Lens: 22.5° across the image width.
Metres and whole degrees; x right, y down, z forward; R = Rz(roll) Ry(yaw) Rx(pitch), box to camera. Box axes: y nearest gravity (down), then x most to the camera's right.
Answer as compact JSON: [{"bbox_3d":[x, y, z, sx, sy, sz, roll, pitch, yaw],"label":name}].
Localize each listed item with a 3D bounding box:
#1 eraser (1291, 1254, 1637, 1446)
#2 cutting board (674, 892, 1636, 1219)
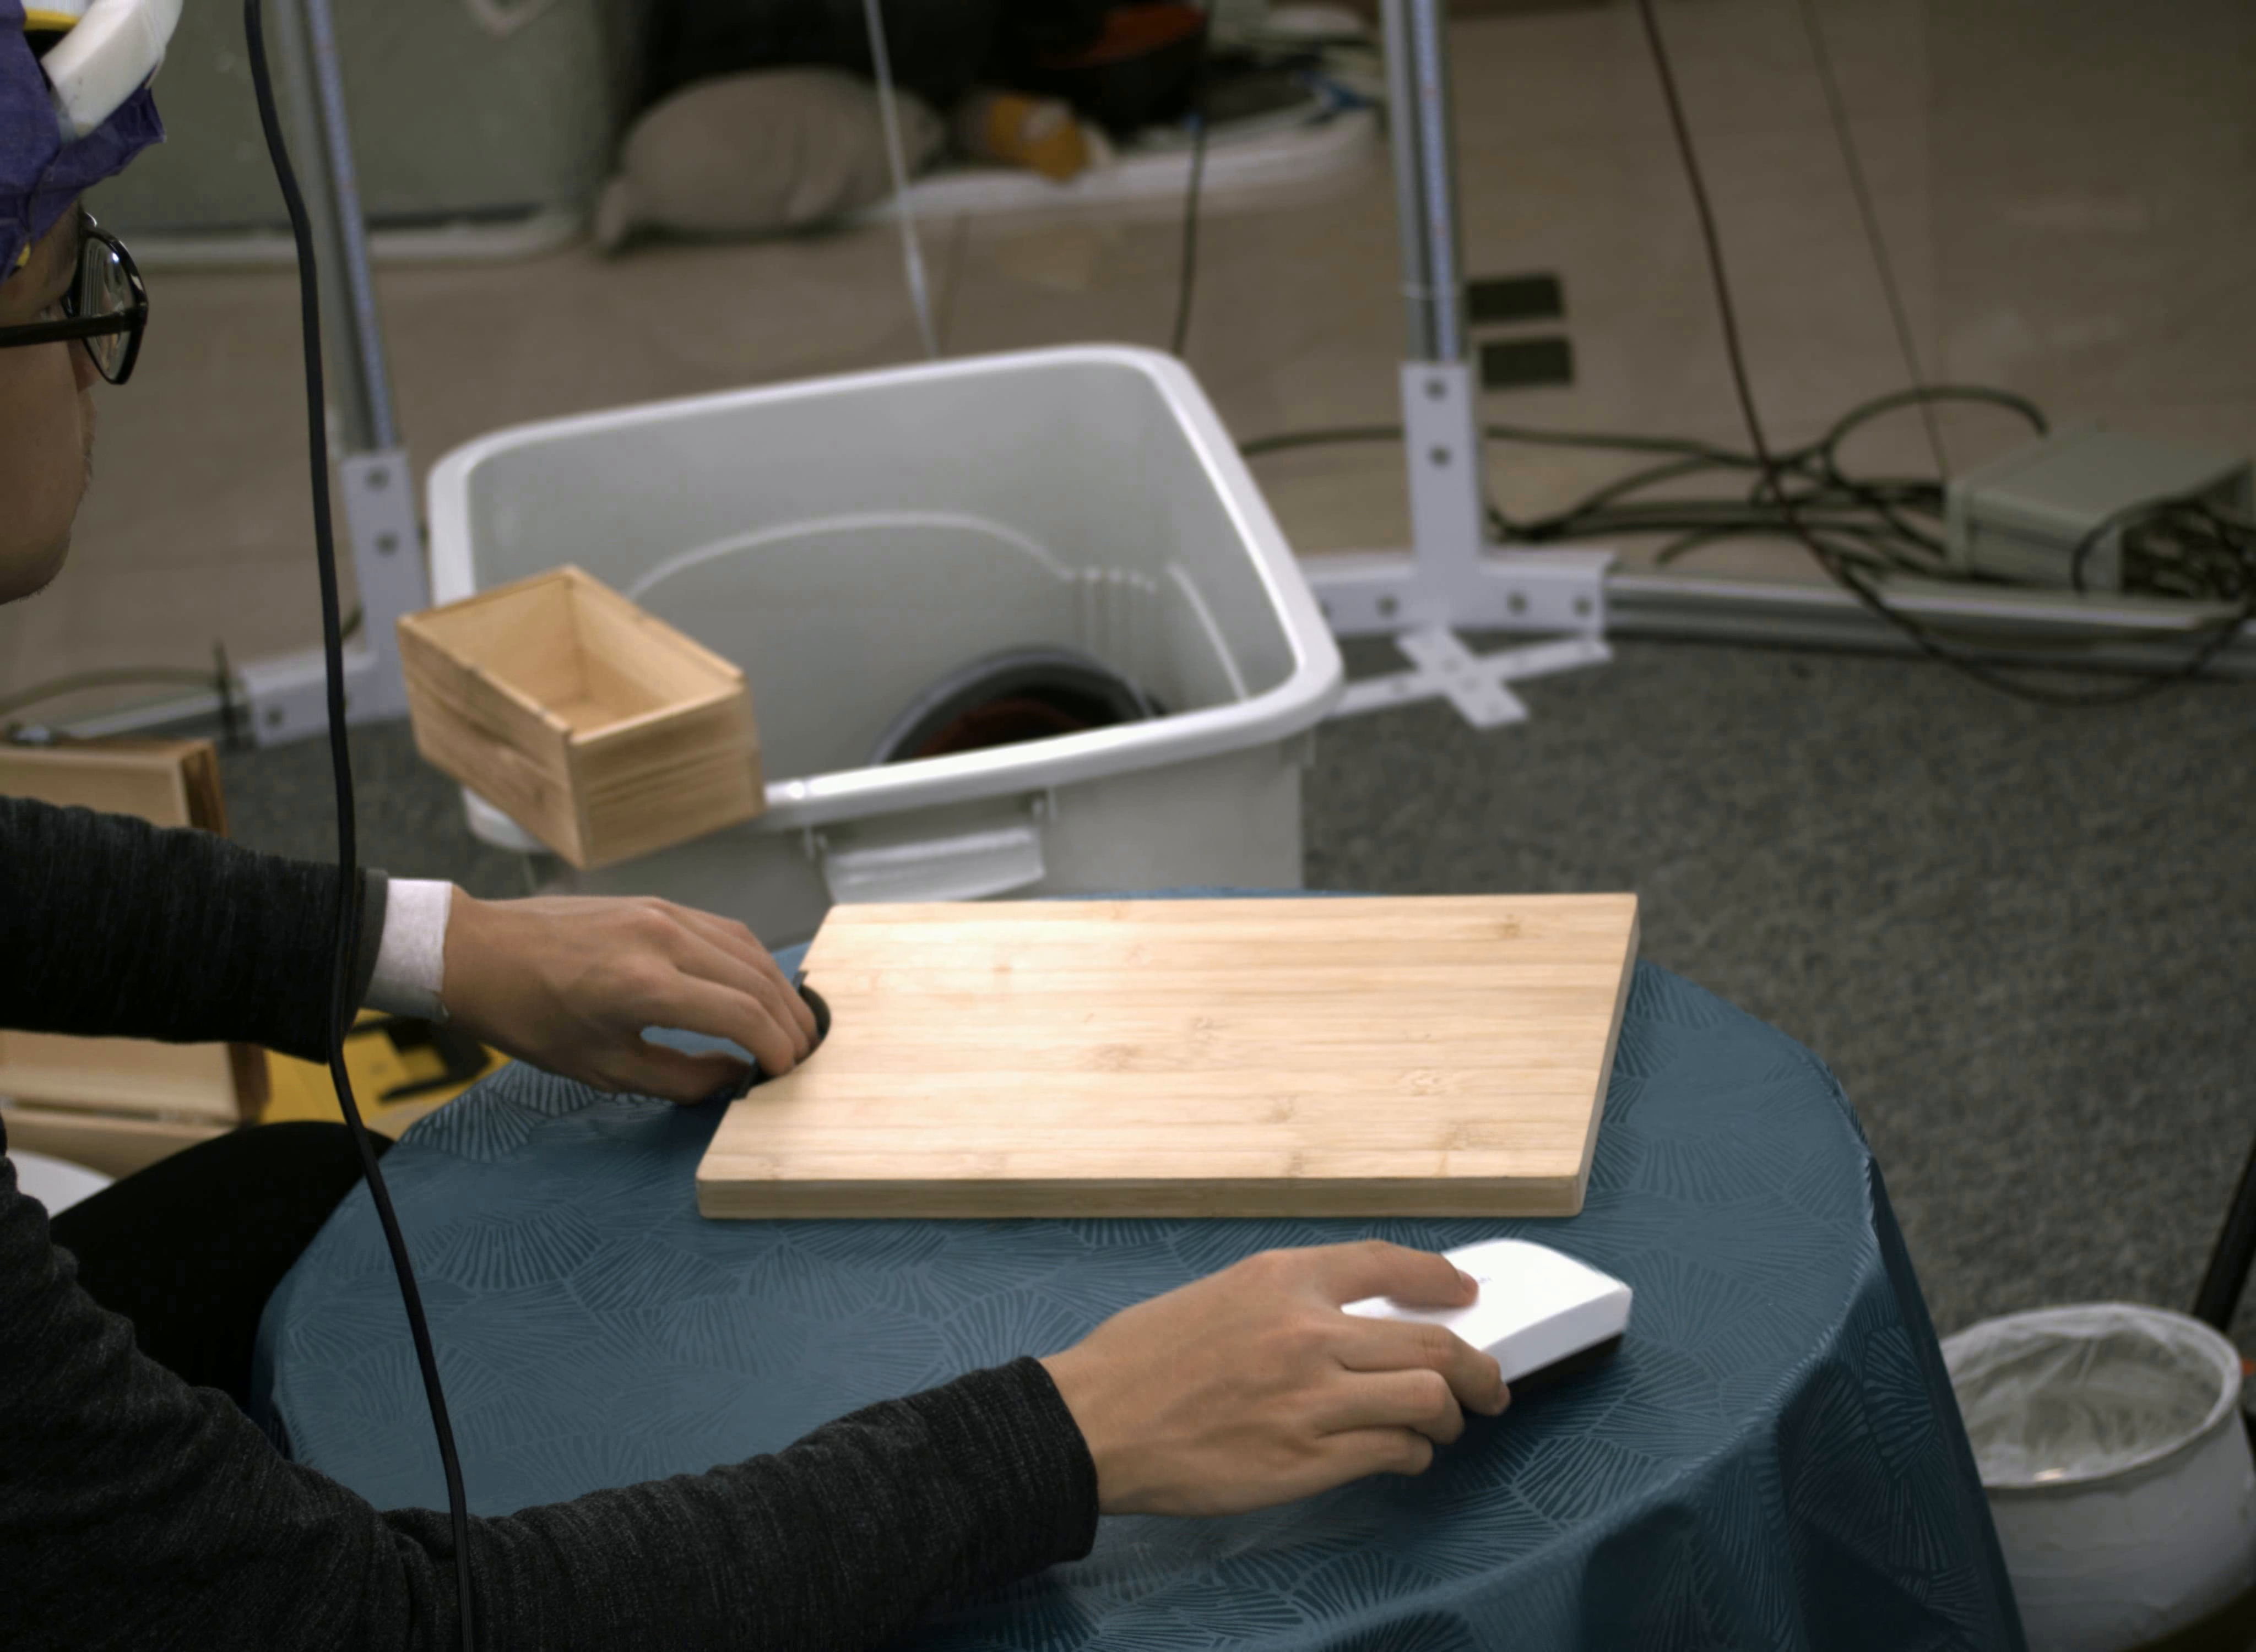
[{"bbox_3d":[0.116,0.178,1.969,0.130,0.035,0.063,-14,26,-42],"label":"eraser"},{"bbox_3d":[0.016,0.089,2.232,0.348,0.024,0.247,-1,25,11],"label":"cutting board"}]
